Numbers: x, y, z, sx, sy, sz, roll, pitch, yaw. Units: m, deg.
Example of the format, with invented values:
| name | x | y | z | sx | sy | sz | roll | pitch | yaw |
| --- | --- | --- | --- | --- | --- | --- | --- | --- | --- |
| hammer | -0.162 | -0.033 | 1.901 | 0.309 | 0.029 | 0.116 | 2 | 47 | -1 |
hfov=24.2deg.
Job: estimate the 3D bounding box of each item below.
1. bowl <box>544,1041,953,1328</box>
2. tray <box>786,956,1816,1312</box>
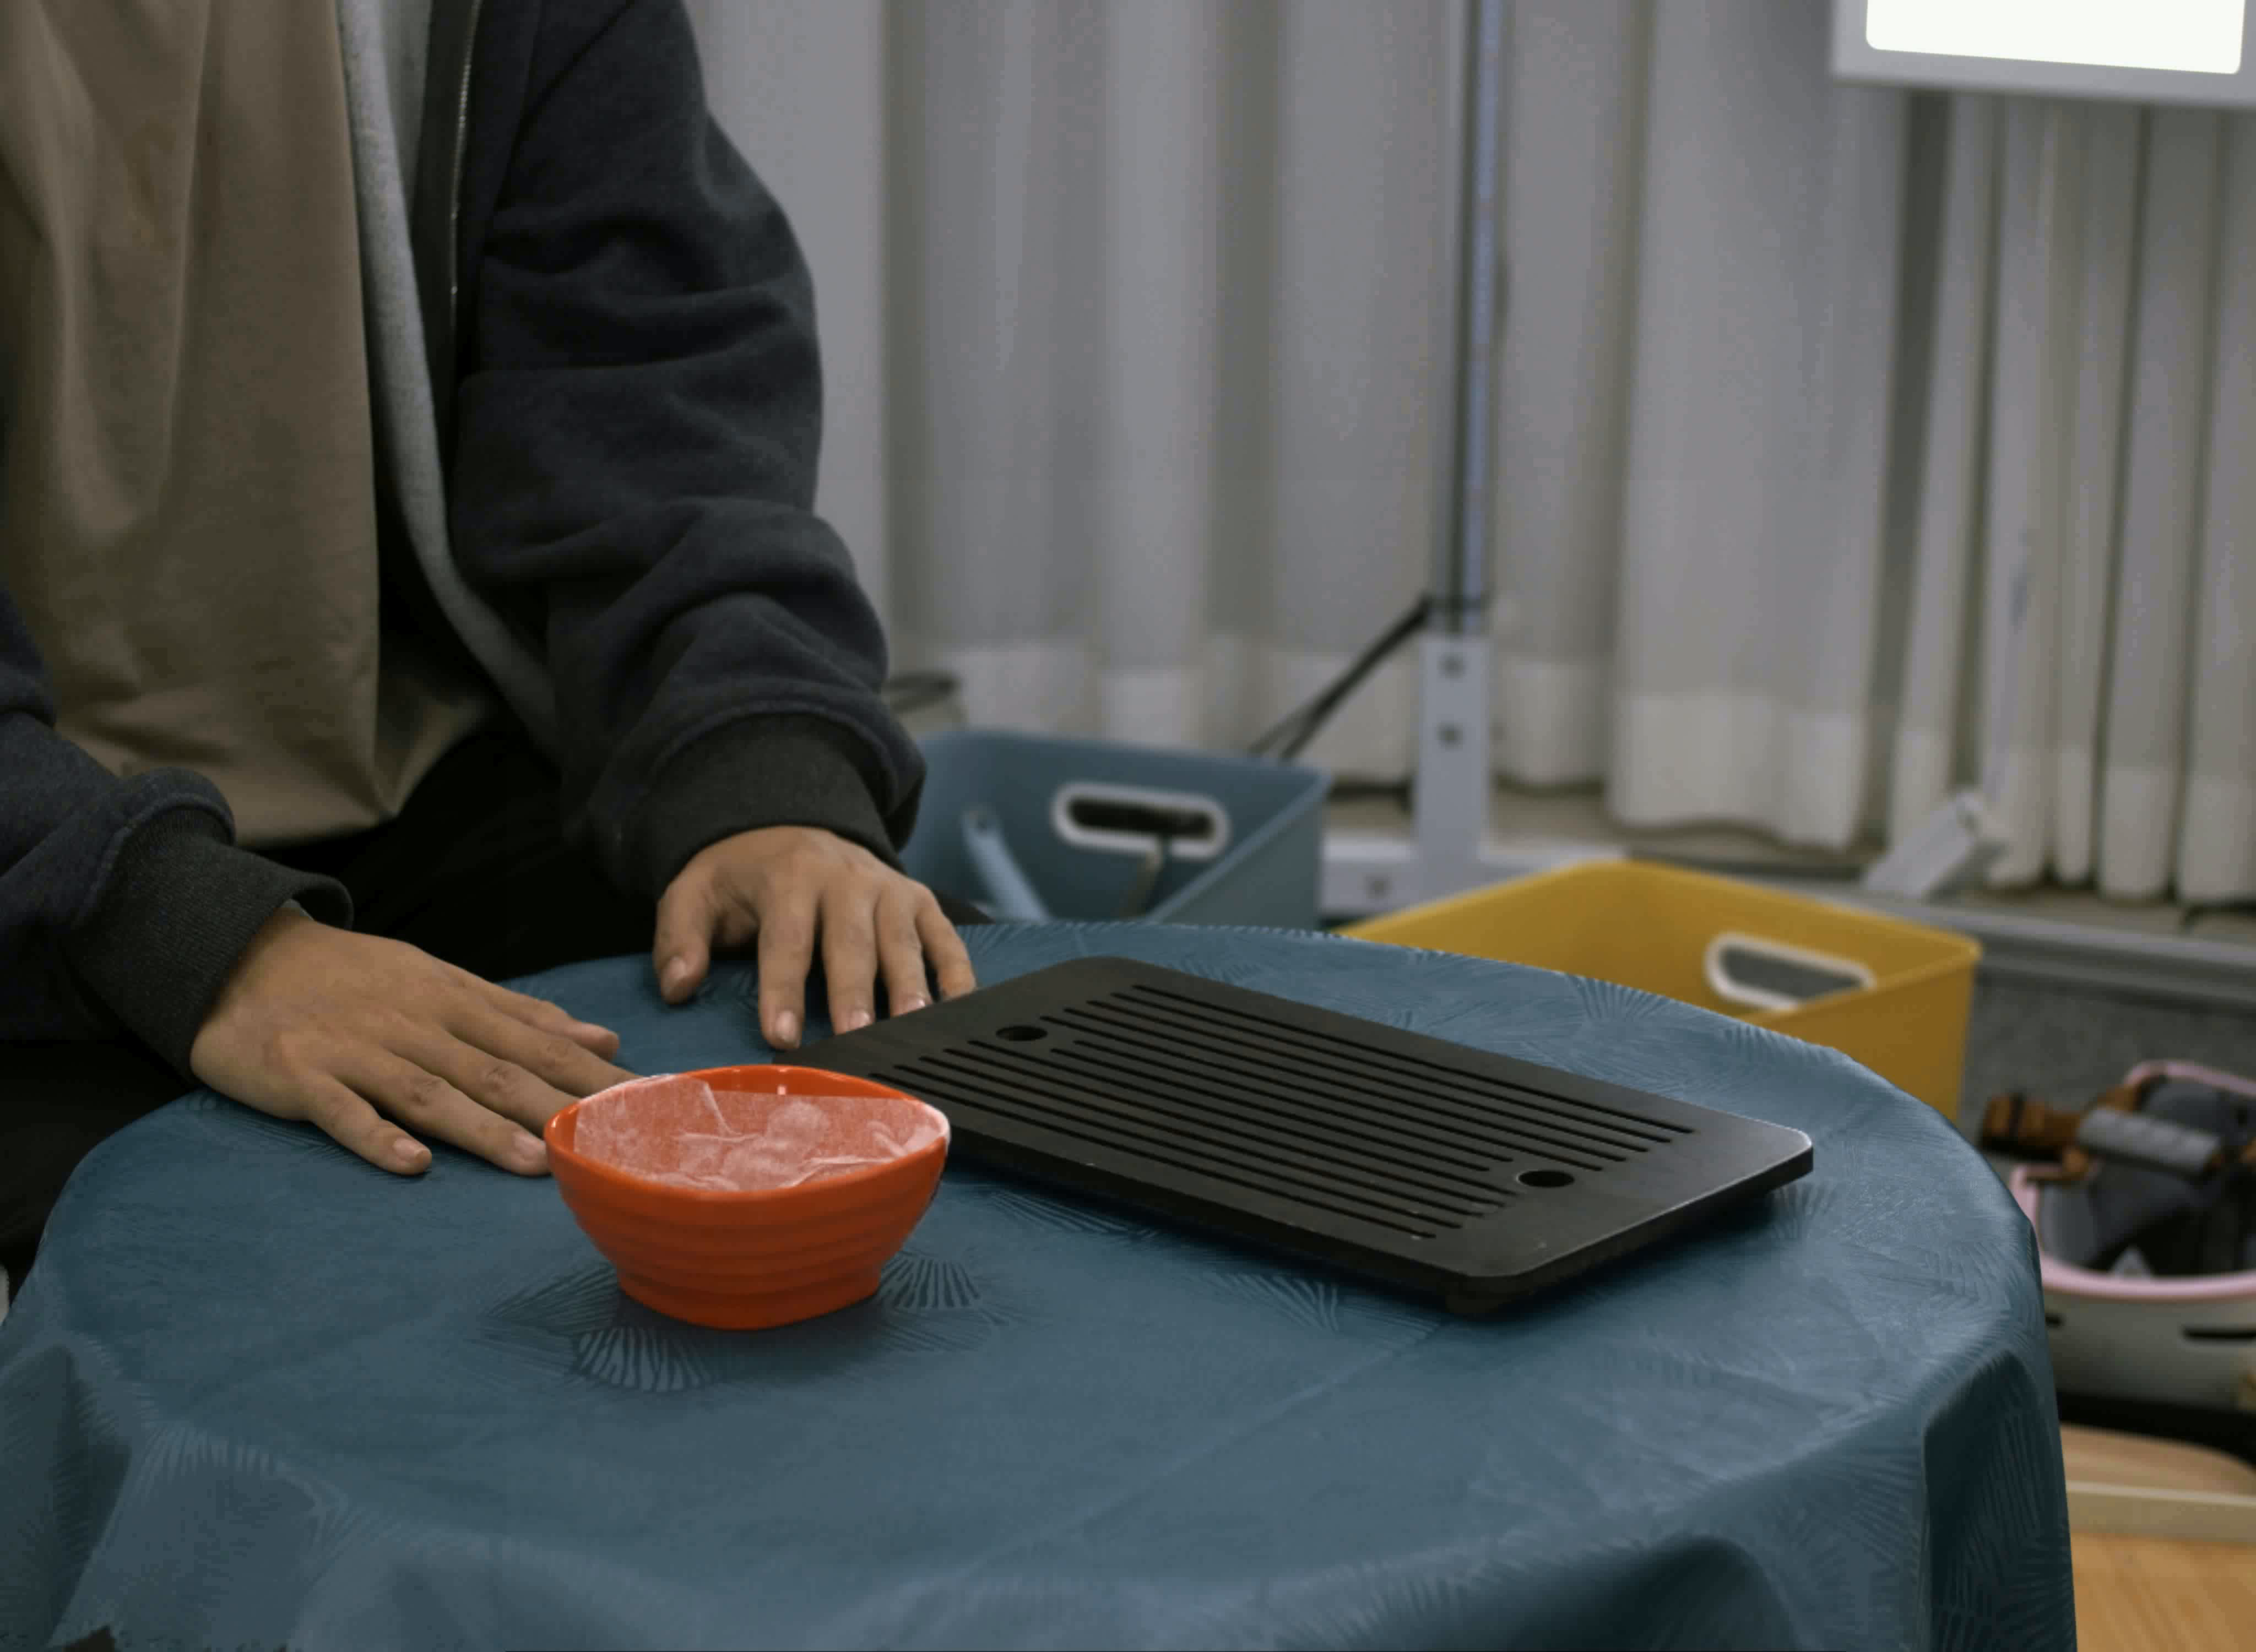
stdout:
| name | x | y | z | sx | sy | sz | roll | pitch | yaw |
| --- | --- | --- | --- | --- | --- | --- | --- | --- | --- |
| bowl | -0.111 | 0.107 | 1.531 | 0.118 | 0.052 | 0.118 | 2 | 20 | 0 |
| tray | 0.048 | 0.093 | 1.659 | 0.302 | 0.019 | 0.171 | 13 | 20 | 39 |
